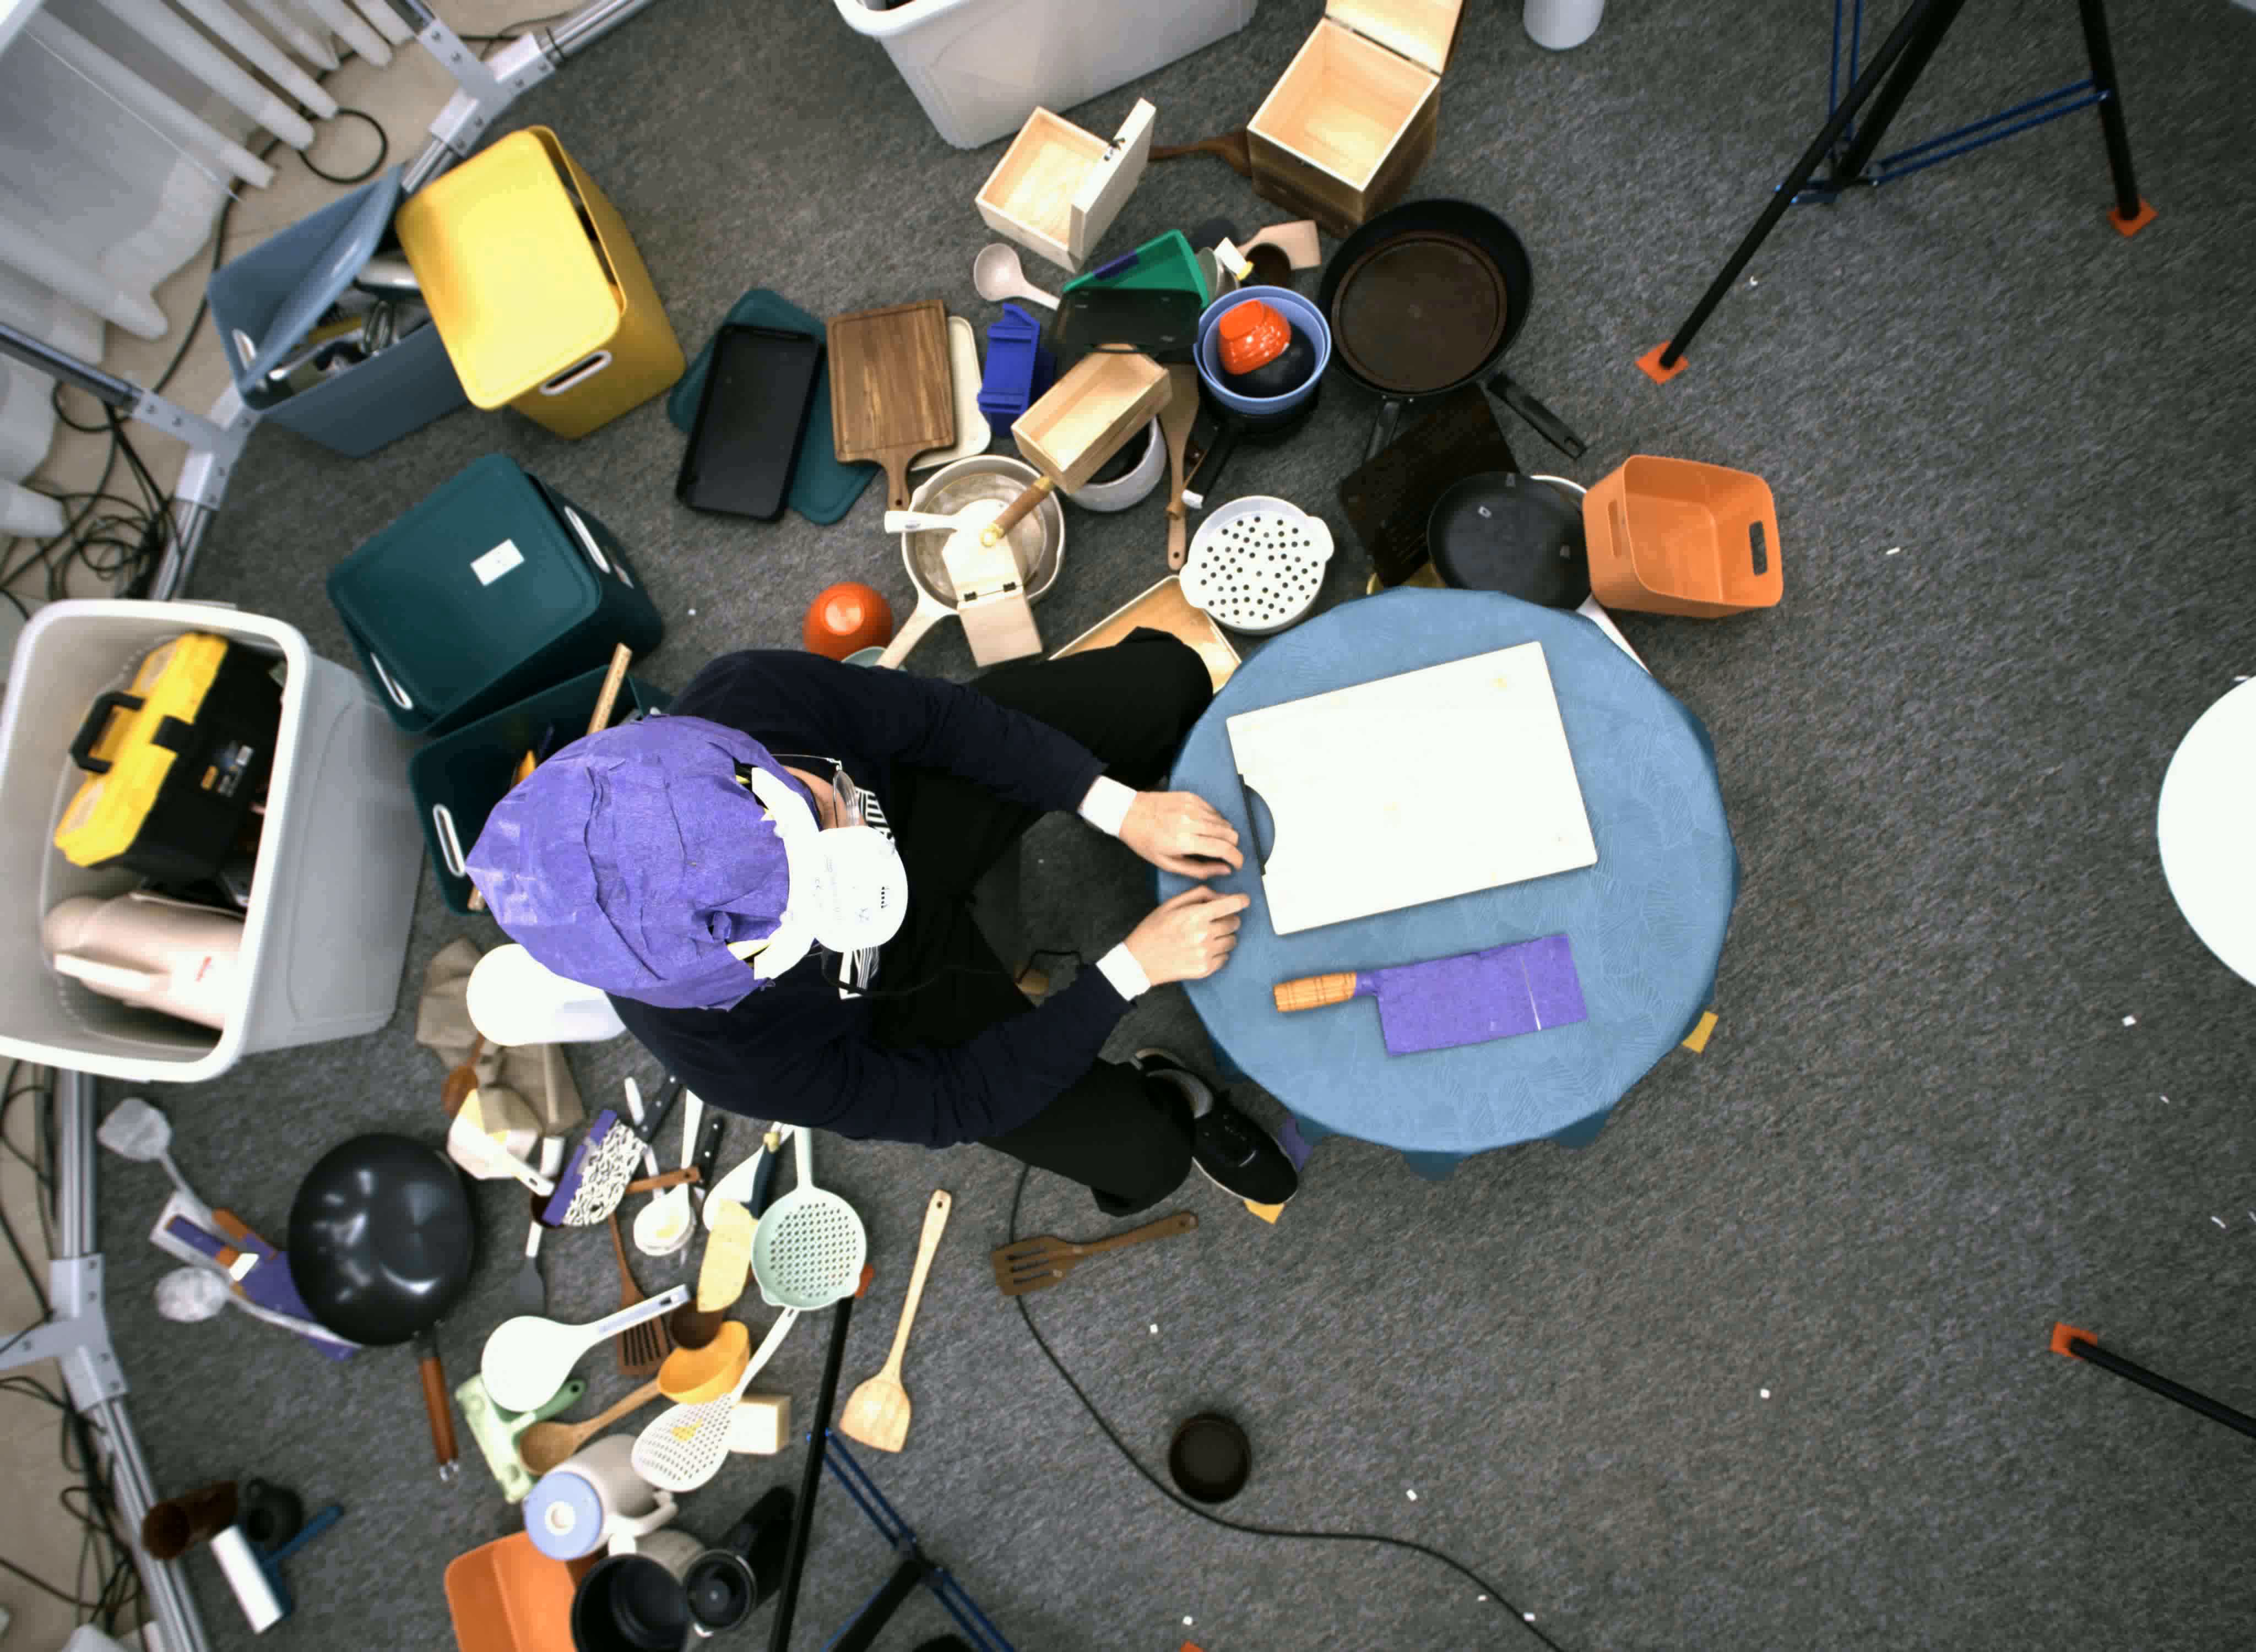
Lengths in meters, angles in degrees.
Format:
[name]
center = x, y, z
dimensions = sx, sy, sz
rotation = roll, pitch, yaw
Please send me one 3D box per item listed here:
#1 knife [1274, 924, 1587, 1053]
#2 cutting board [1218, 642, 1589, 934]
[knife]
center = 0.313, 0.181, 1.432
dimensions = 0.317, 0.032, 0.103
rotation = -13, 84, 9
[cutting board]
center = 0.290, -0.040, 1.454
dimensions = 0.350, 0.023, 0.249
rotation = -14, 84, 10
